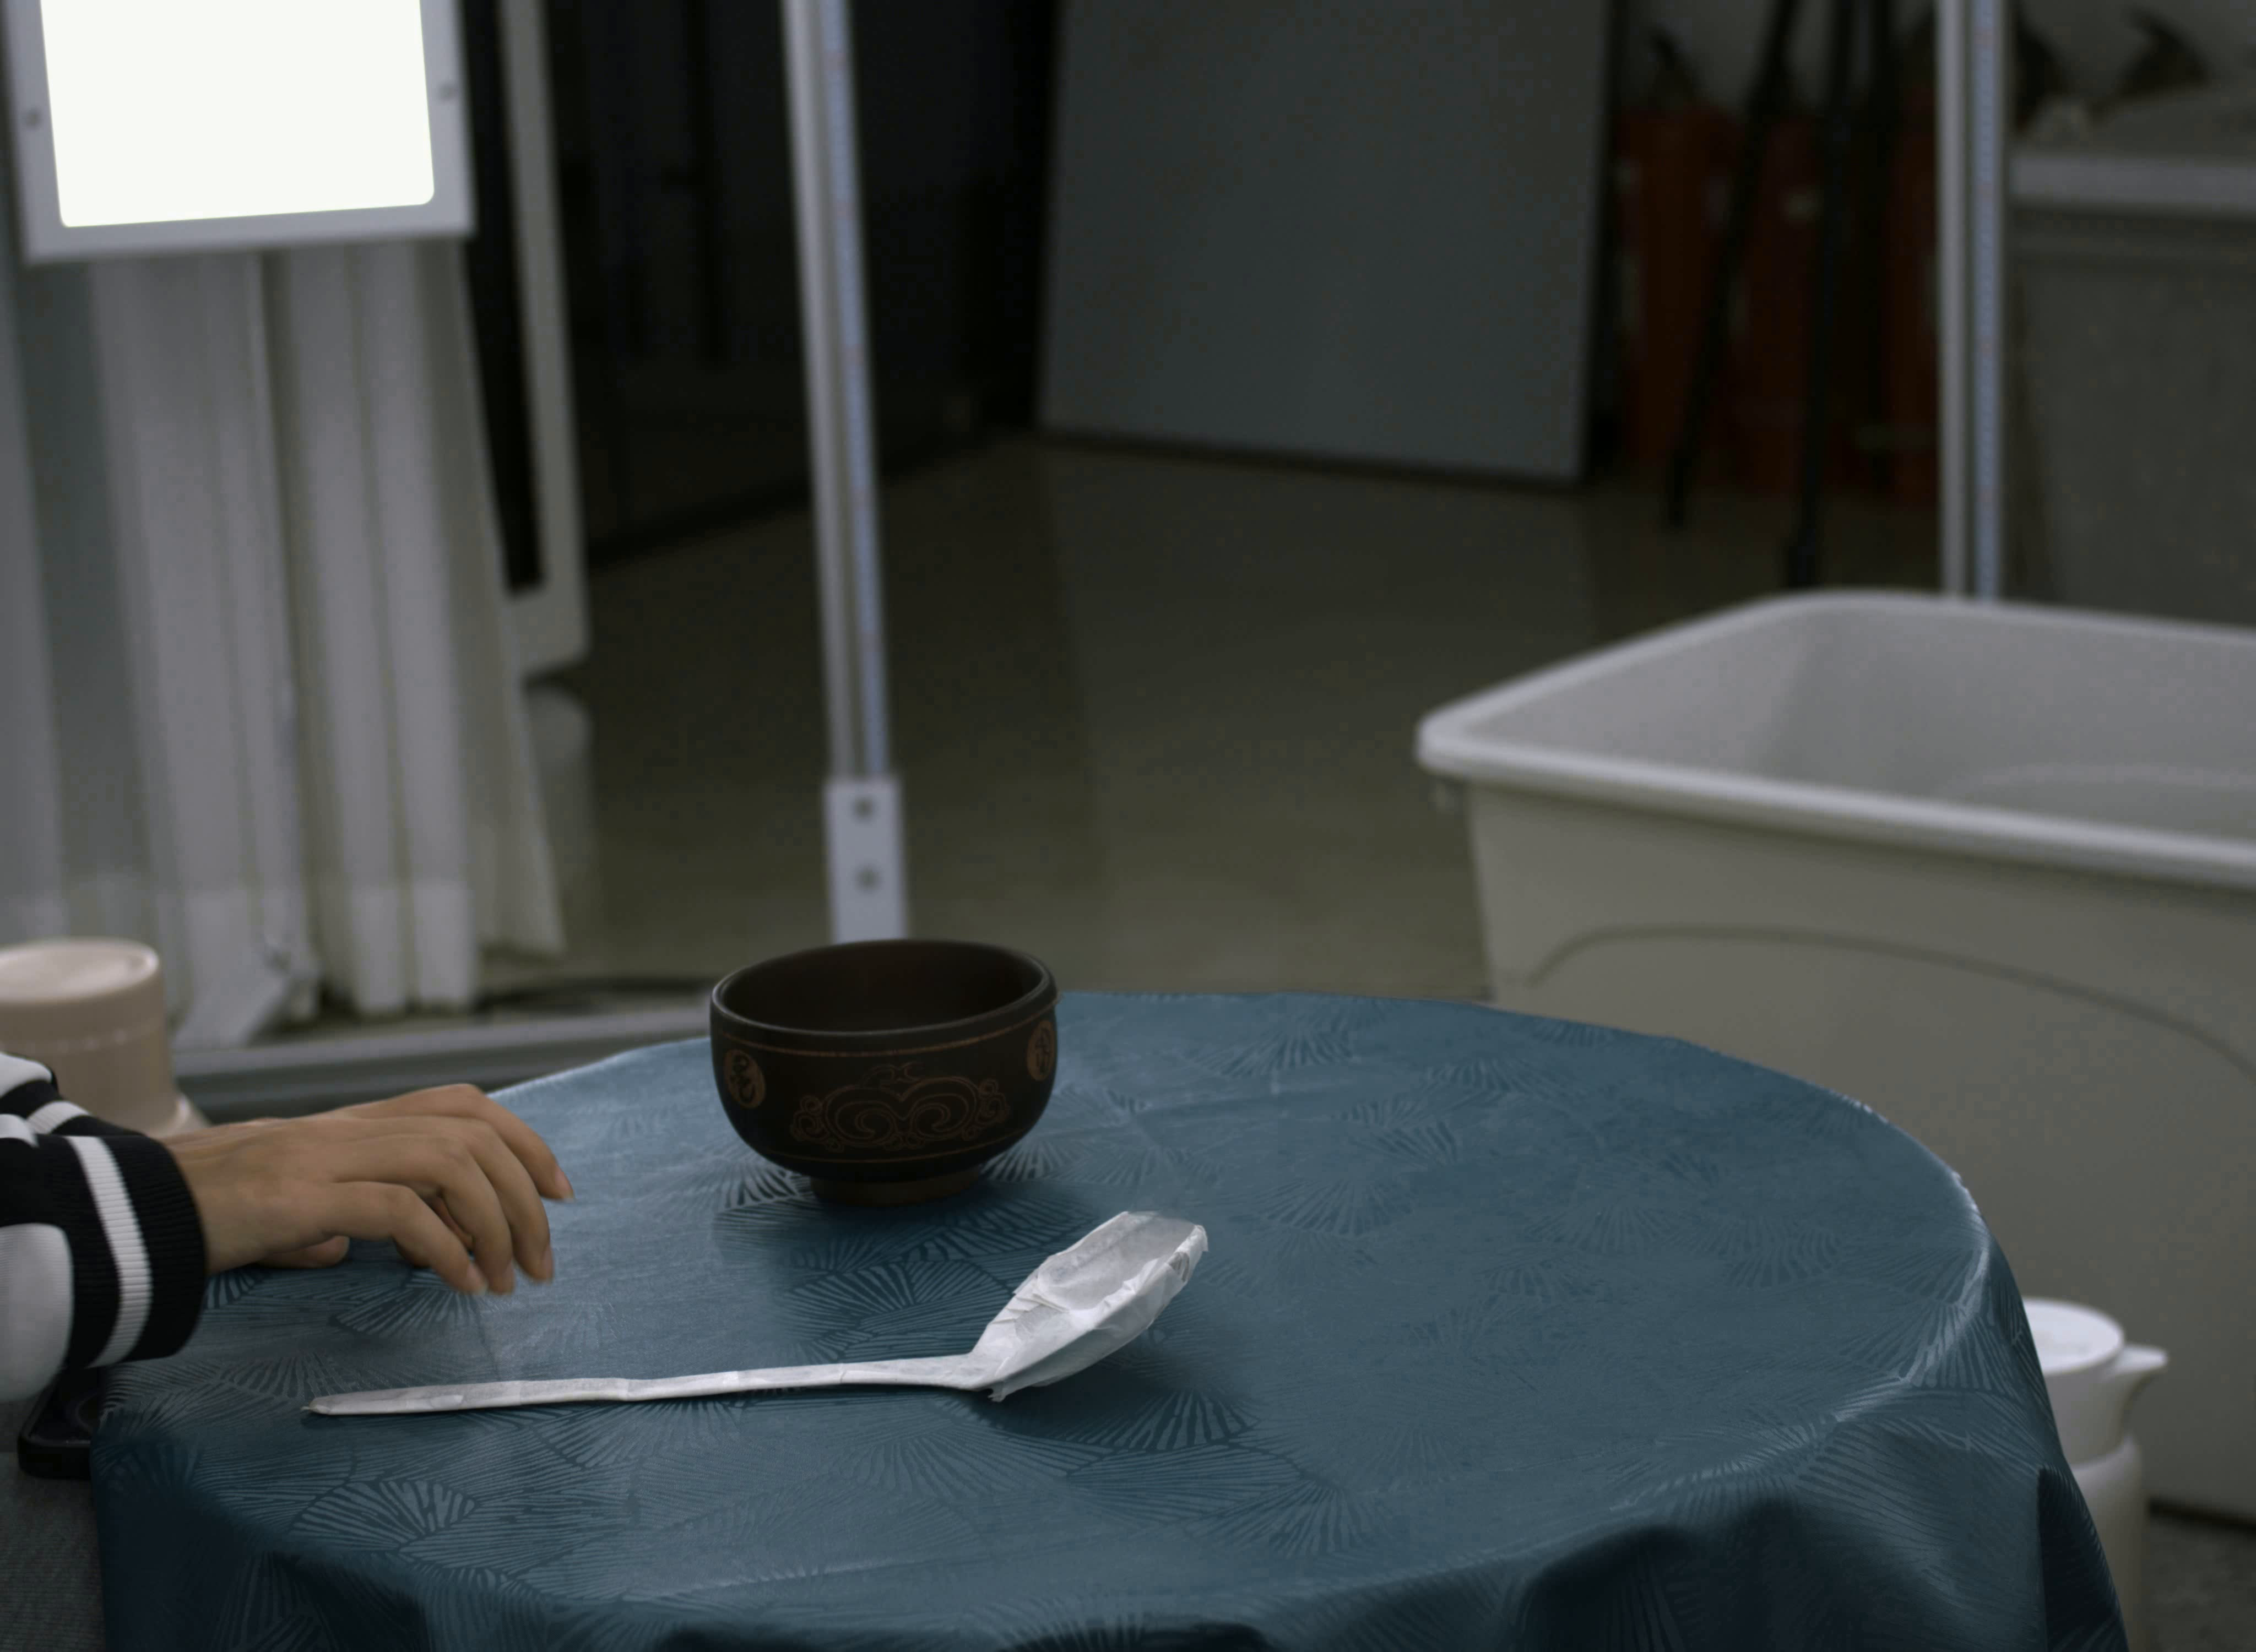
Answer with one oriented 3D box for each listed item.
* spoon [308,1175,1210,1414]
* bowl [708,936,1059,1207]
[{"bbox_3d":[-0.110,0.139,1.609,0.275,0.060,0.100,-3,10,7],"label":"spoon"},{"bbox_3d":[-0.079,0.085,1.789,0.116,0.070,0.118,-4,13,0],"label":"bowl"}]
